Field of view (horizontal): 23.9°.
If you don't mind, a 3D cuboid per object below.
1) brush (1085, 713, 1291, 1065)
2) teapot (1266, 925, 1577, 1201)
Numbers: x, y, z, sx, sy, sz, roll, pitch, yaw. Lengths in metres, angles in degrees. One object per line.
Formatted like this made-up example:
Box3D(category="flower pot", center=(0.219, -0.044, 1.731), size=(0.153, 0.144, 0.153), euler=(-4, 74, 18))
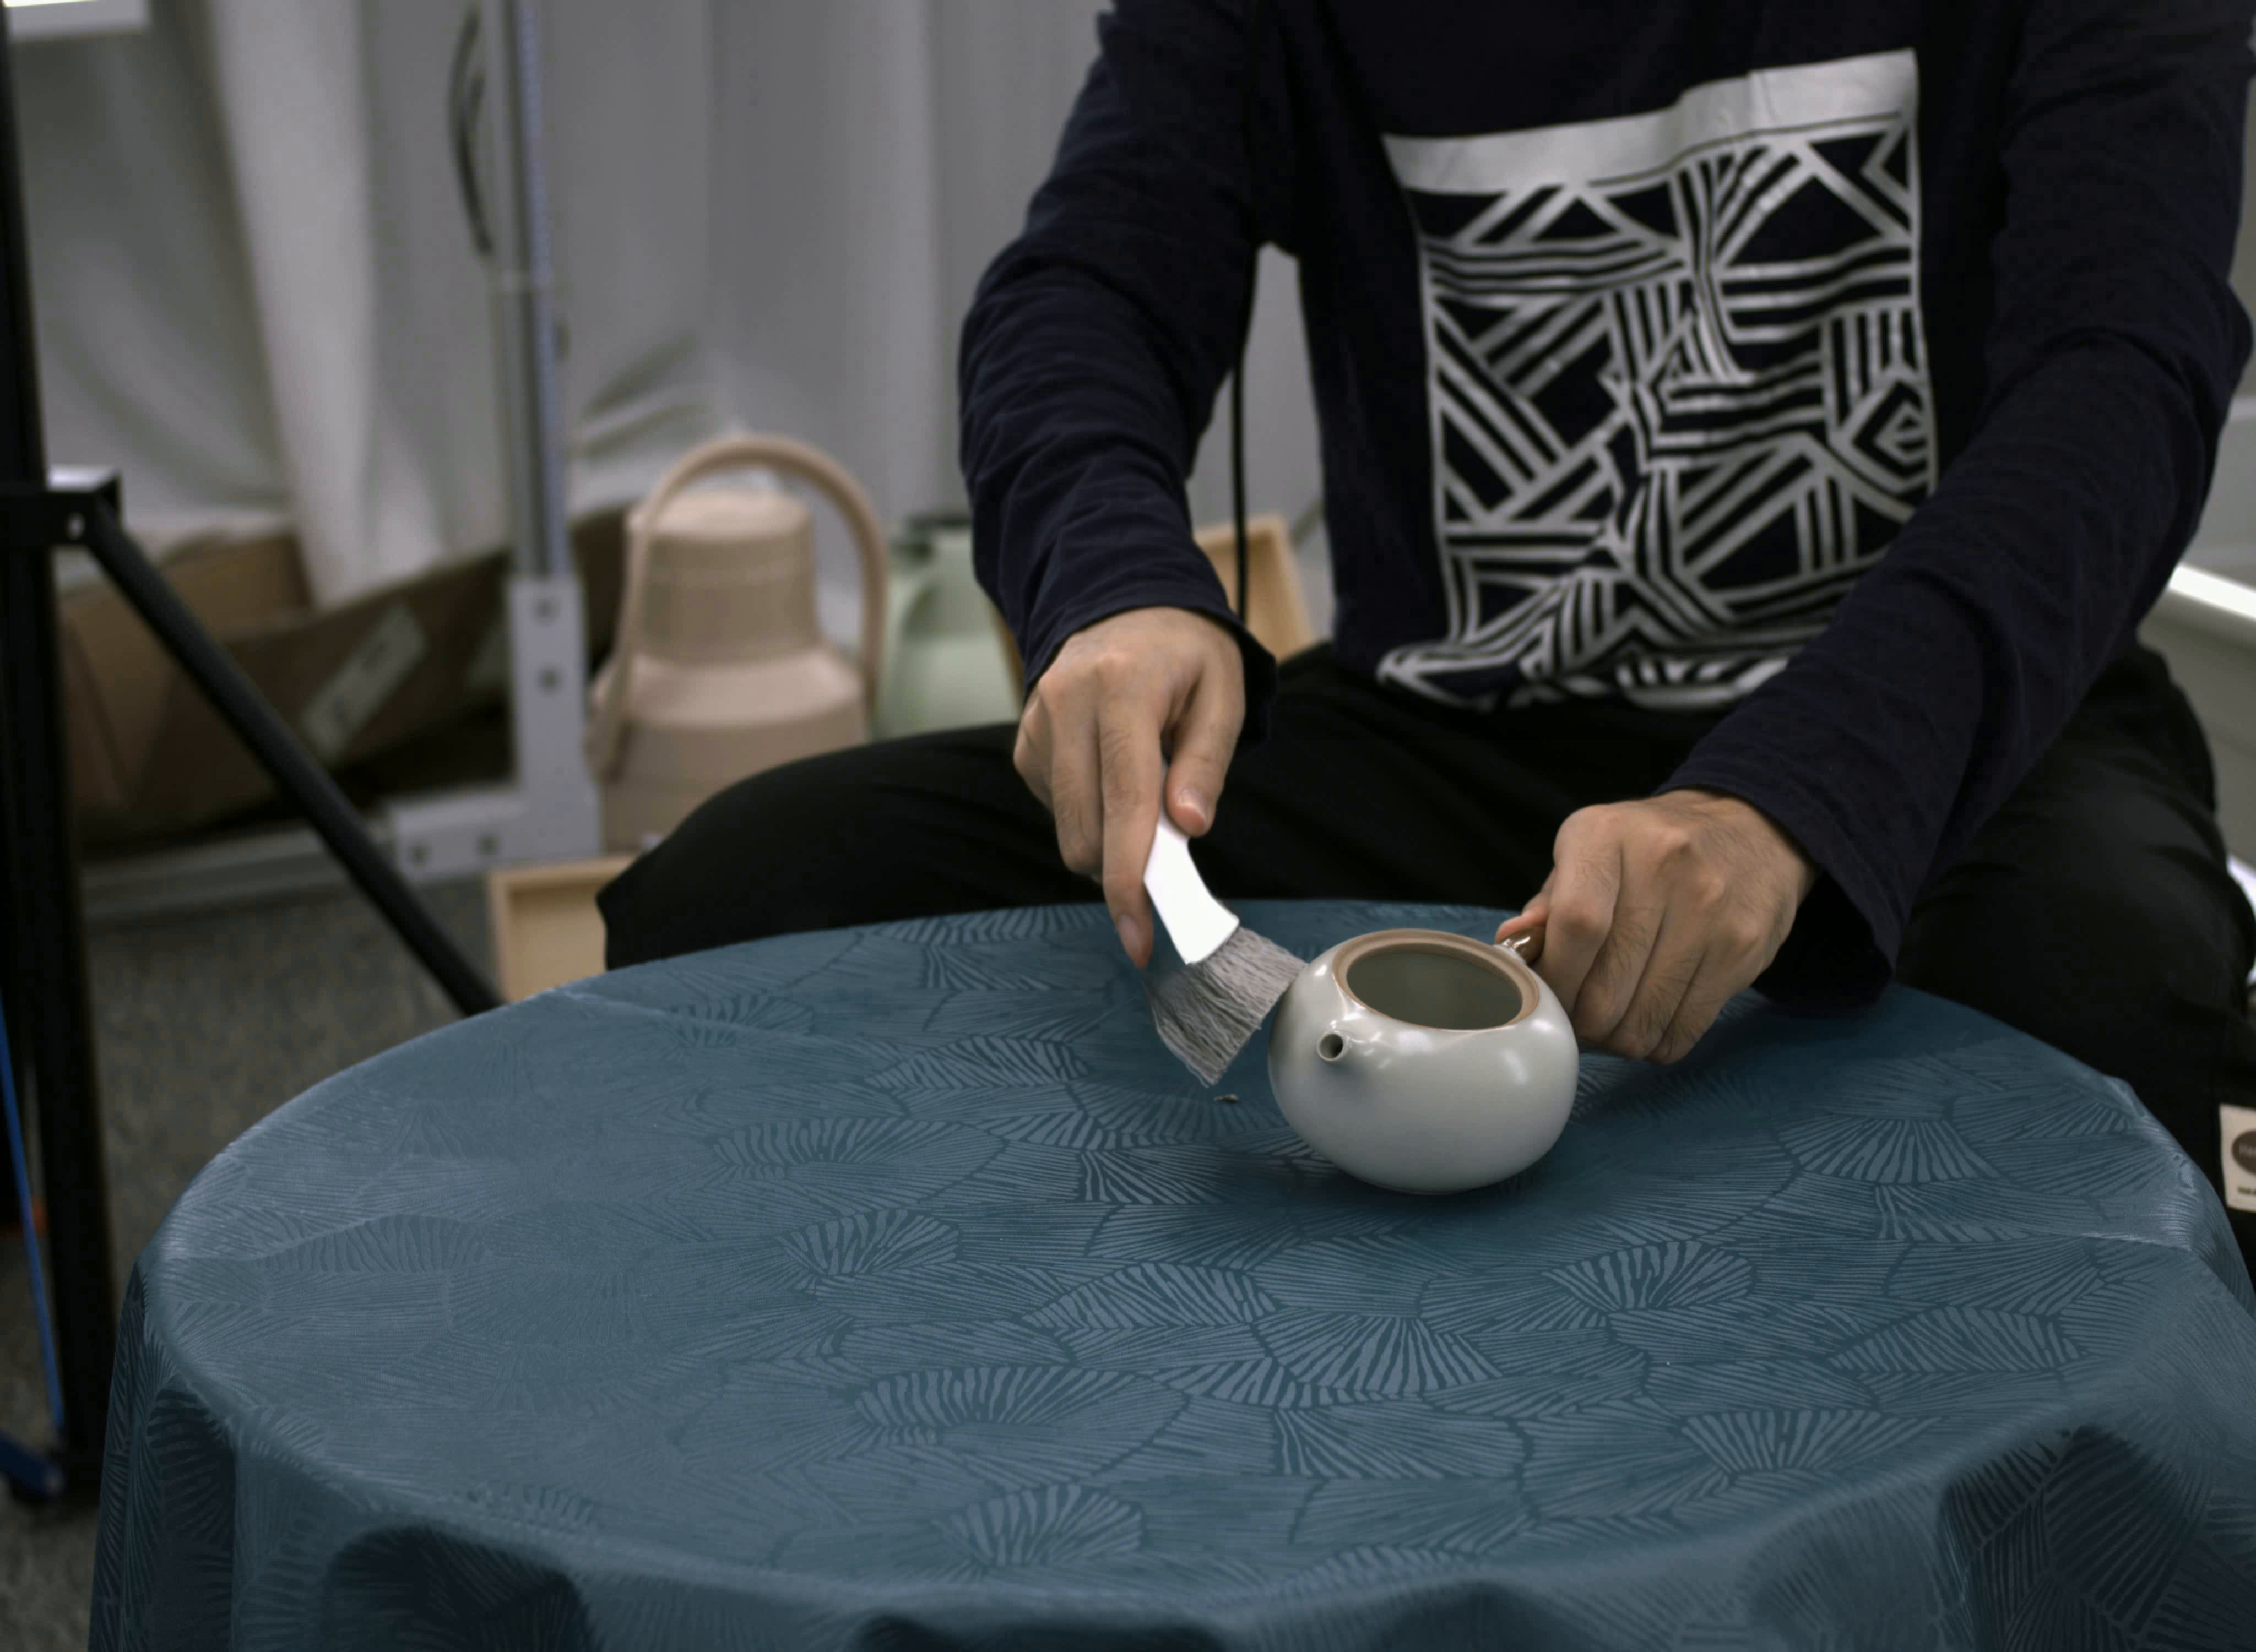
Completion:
Box3D(category="brush", center=(0.018, 0.017, 1.650), size=(0.049, 0.034, 0.245), euler=(28, 14, -12))
Box3D(category="teapot", center=(0.092, 0.068, 1.562), size=(0.093, 0.059, 0.125), euler=(22, 31, 31))
